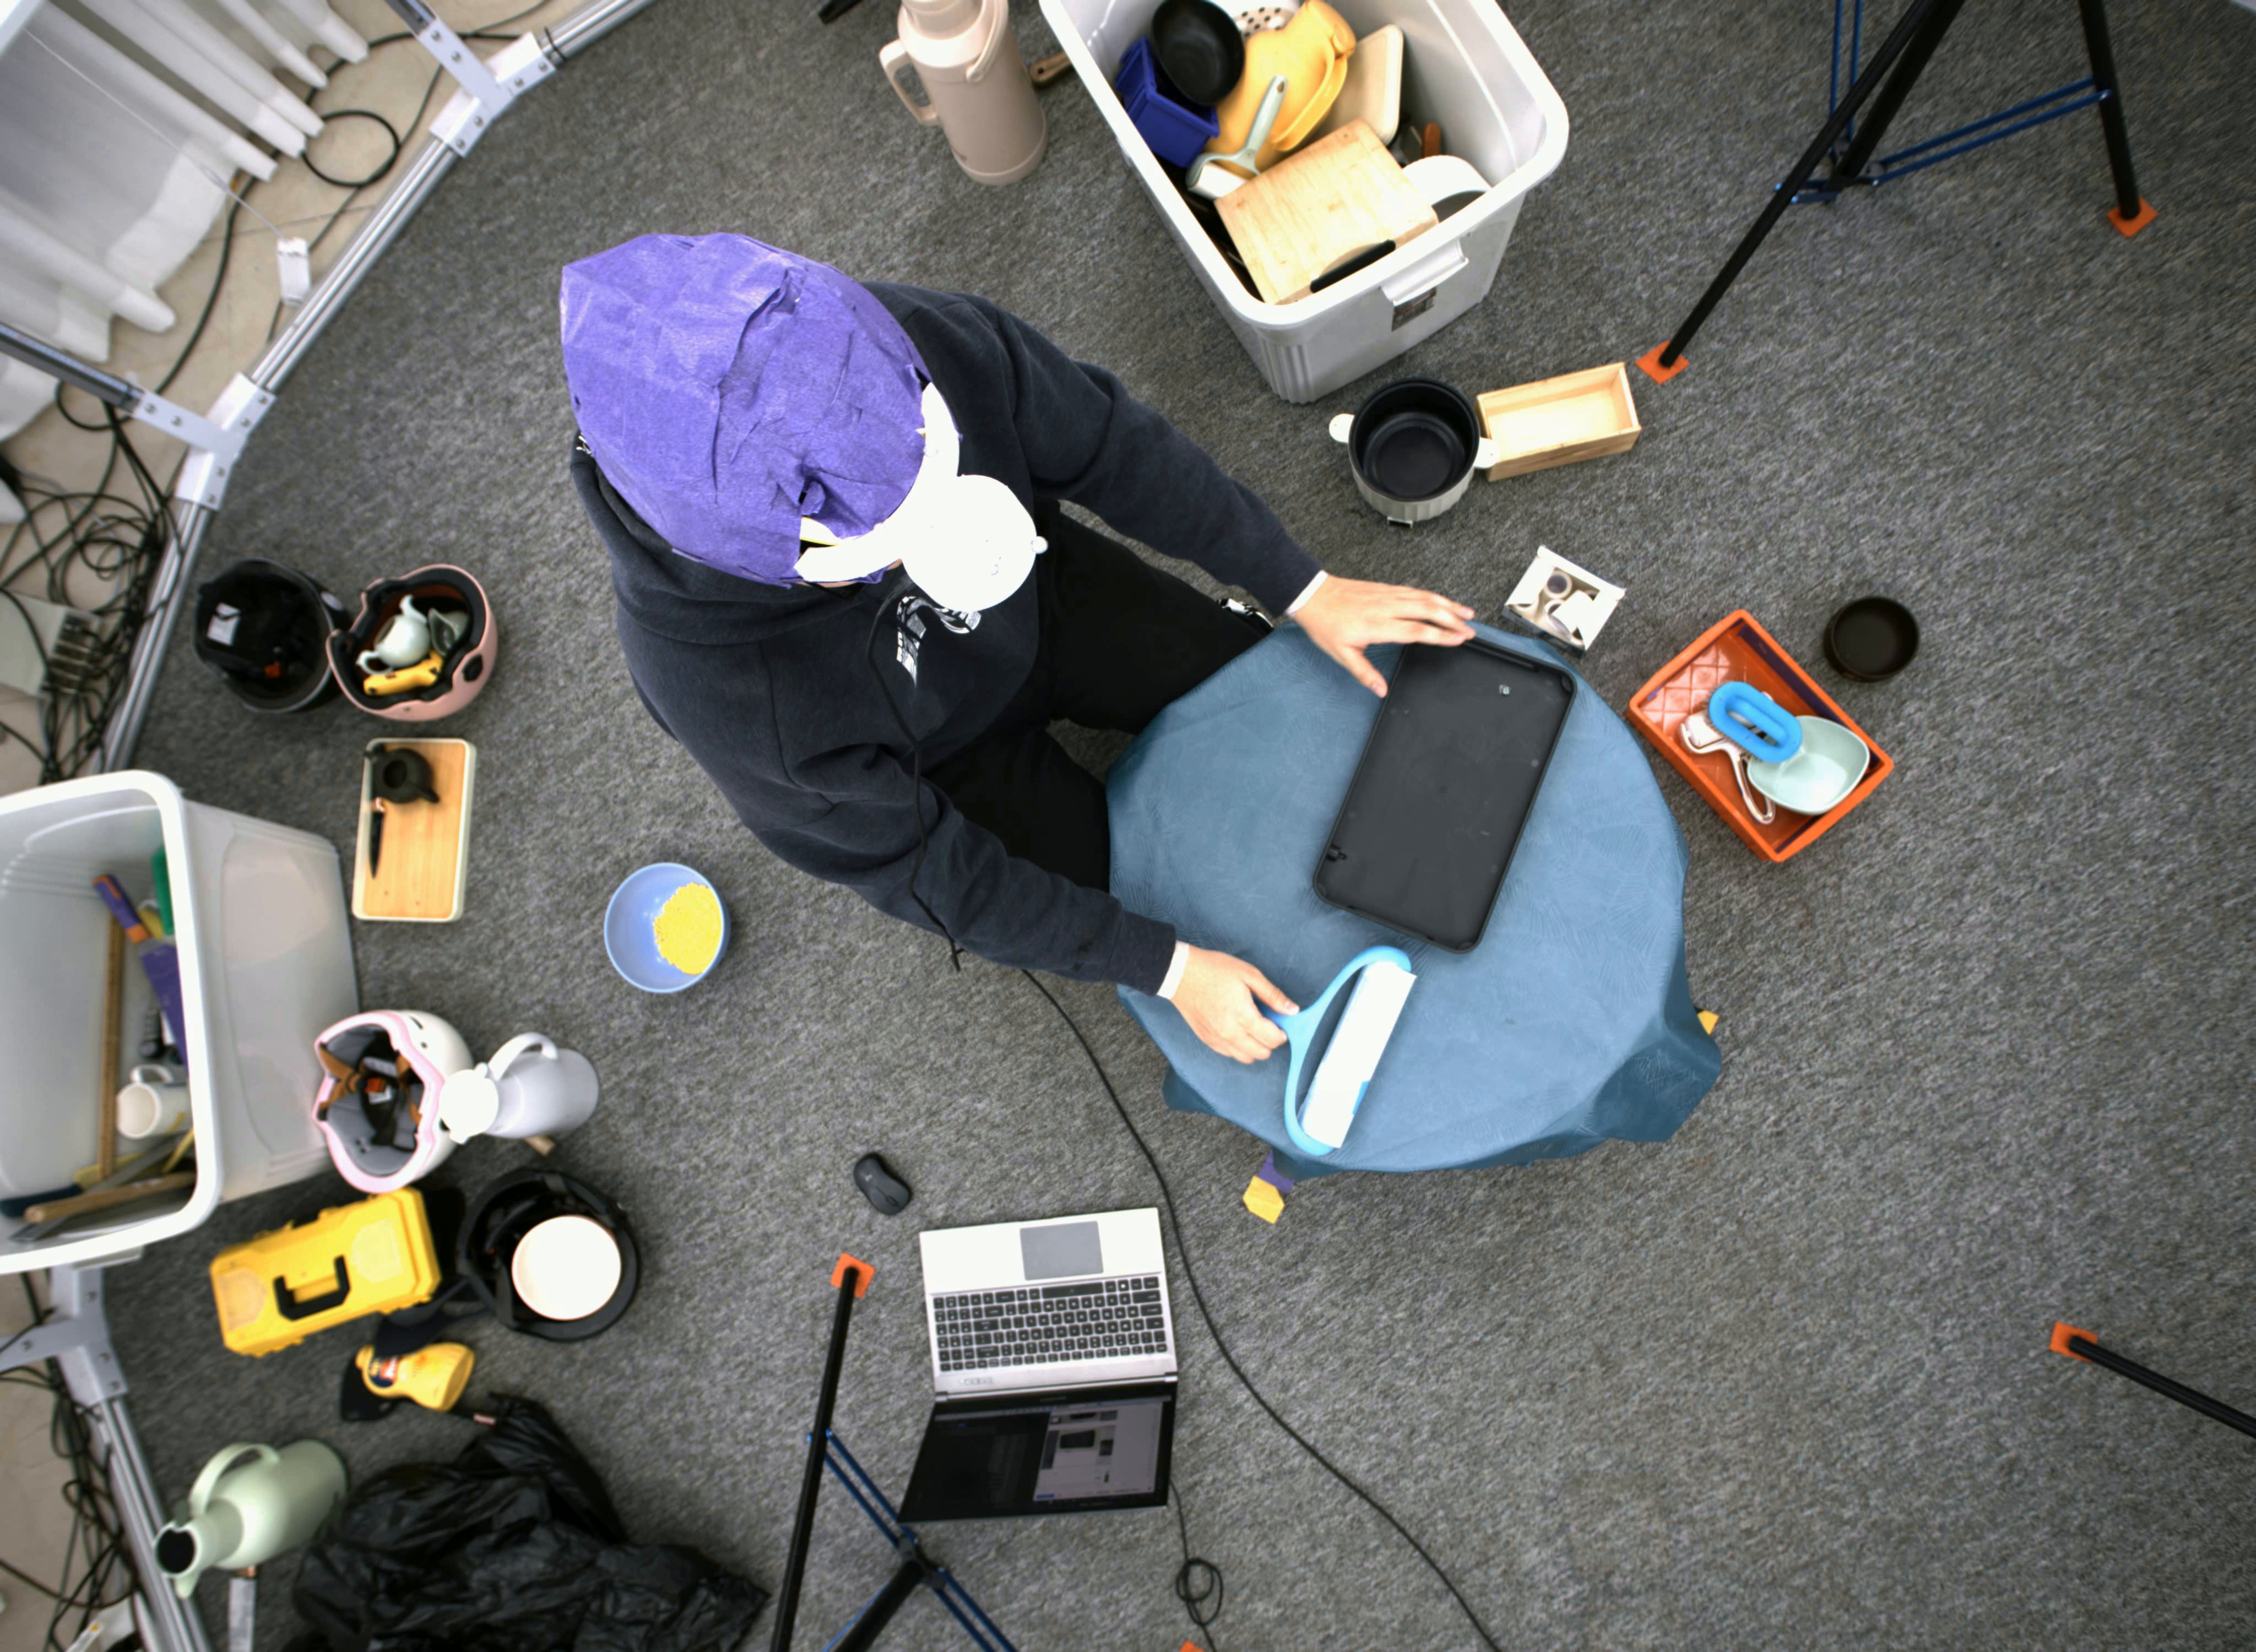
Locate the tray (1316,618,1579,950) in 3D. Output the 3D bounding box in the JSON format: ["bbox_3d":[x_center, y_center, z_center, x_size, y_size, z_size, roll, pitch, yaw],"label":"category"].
[{"bbox_3d":[0.333,-0.046,1.441,0.184,0.037,0.318,21,93,12],"label":"tray"}]

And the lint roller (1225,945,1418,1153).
[{"bbox_3d":[0.181,0.208,1.439,0.180,0.068,0.229,22,92,10],"label":"lint roller"}]
